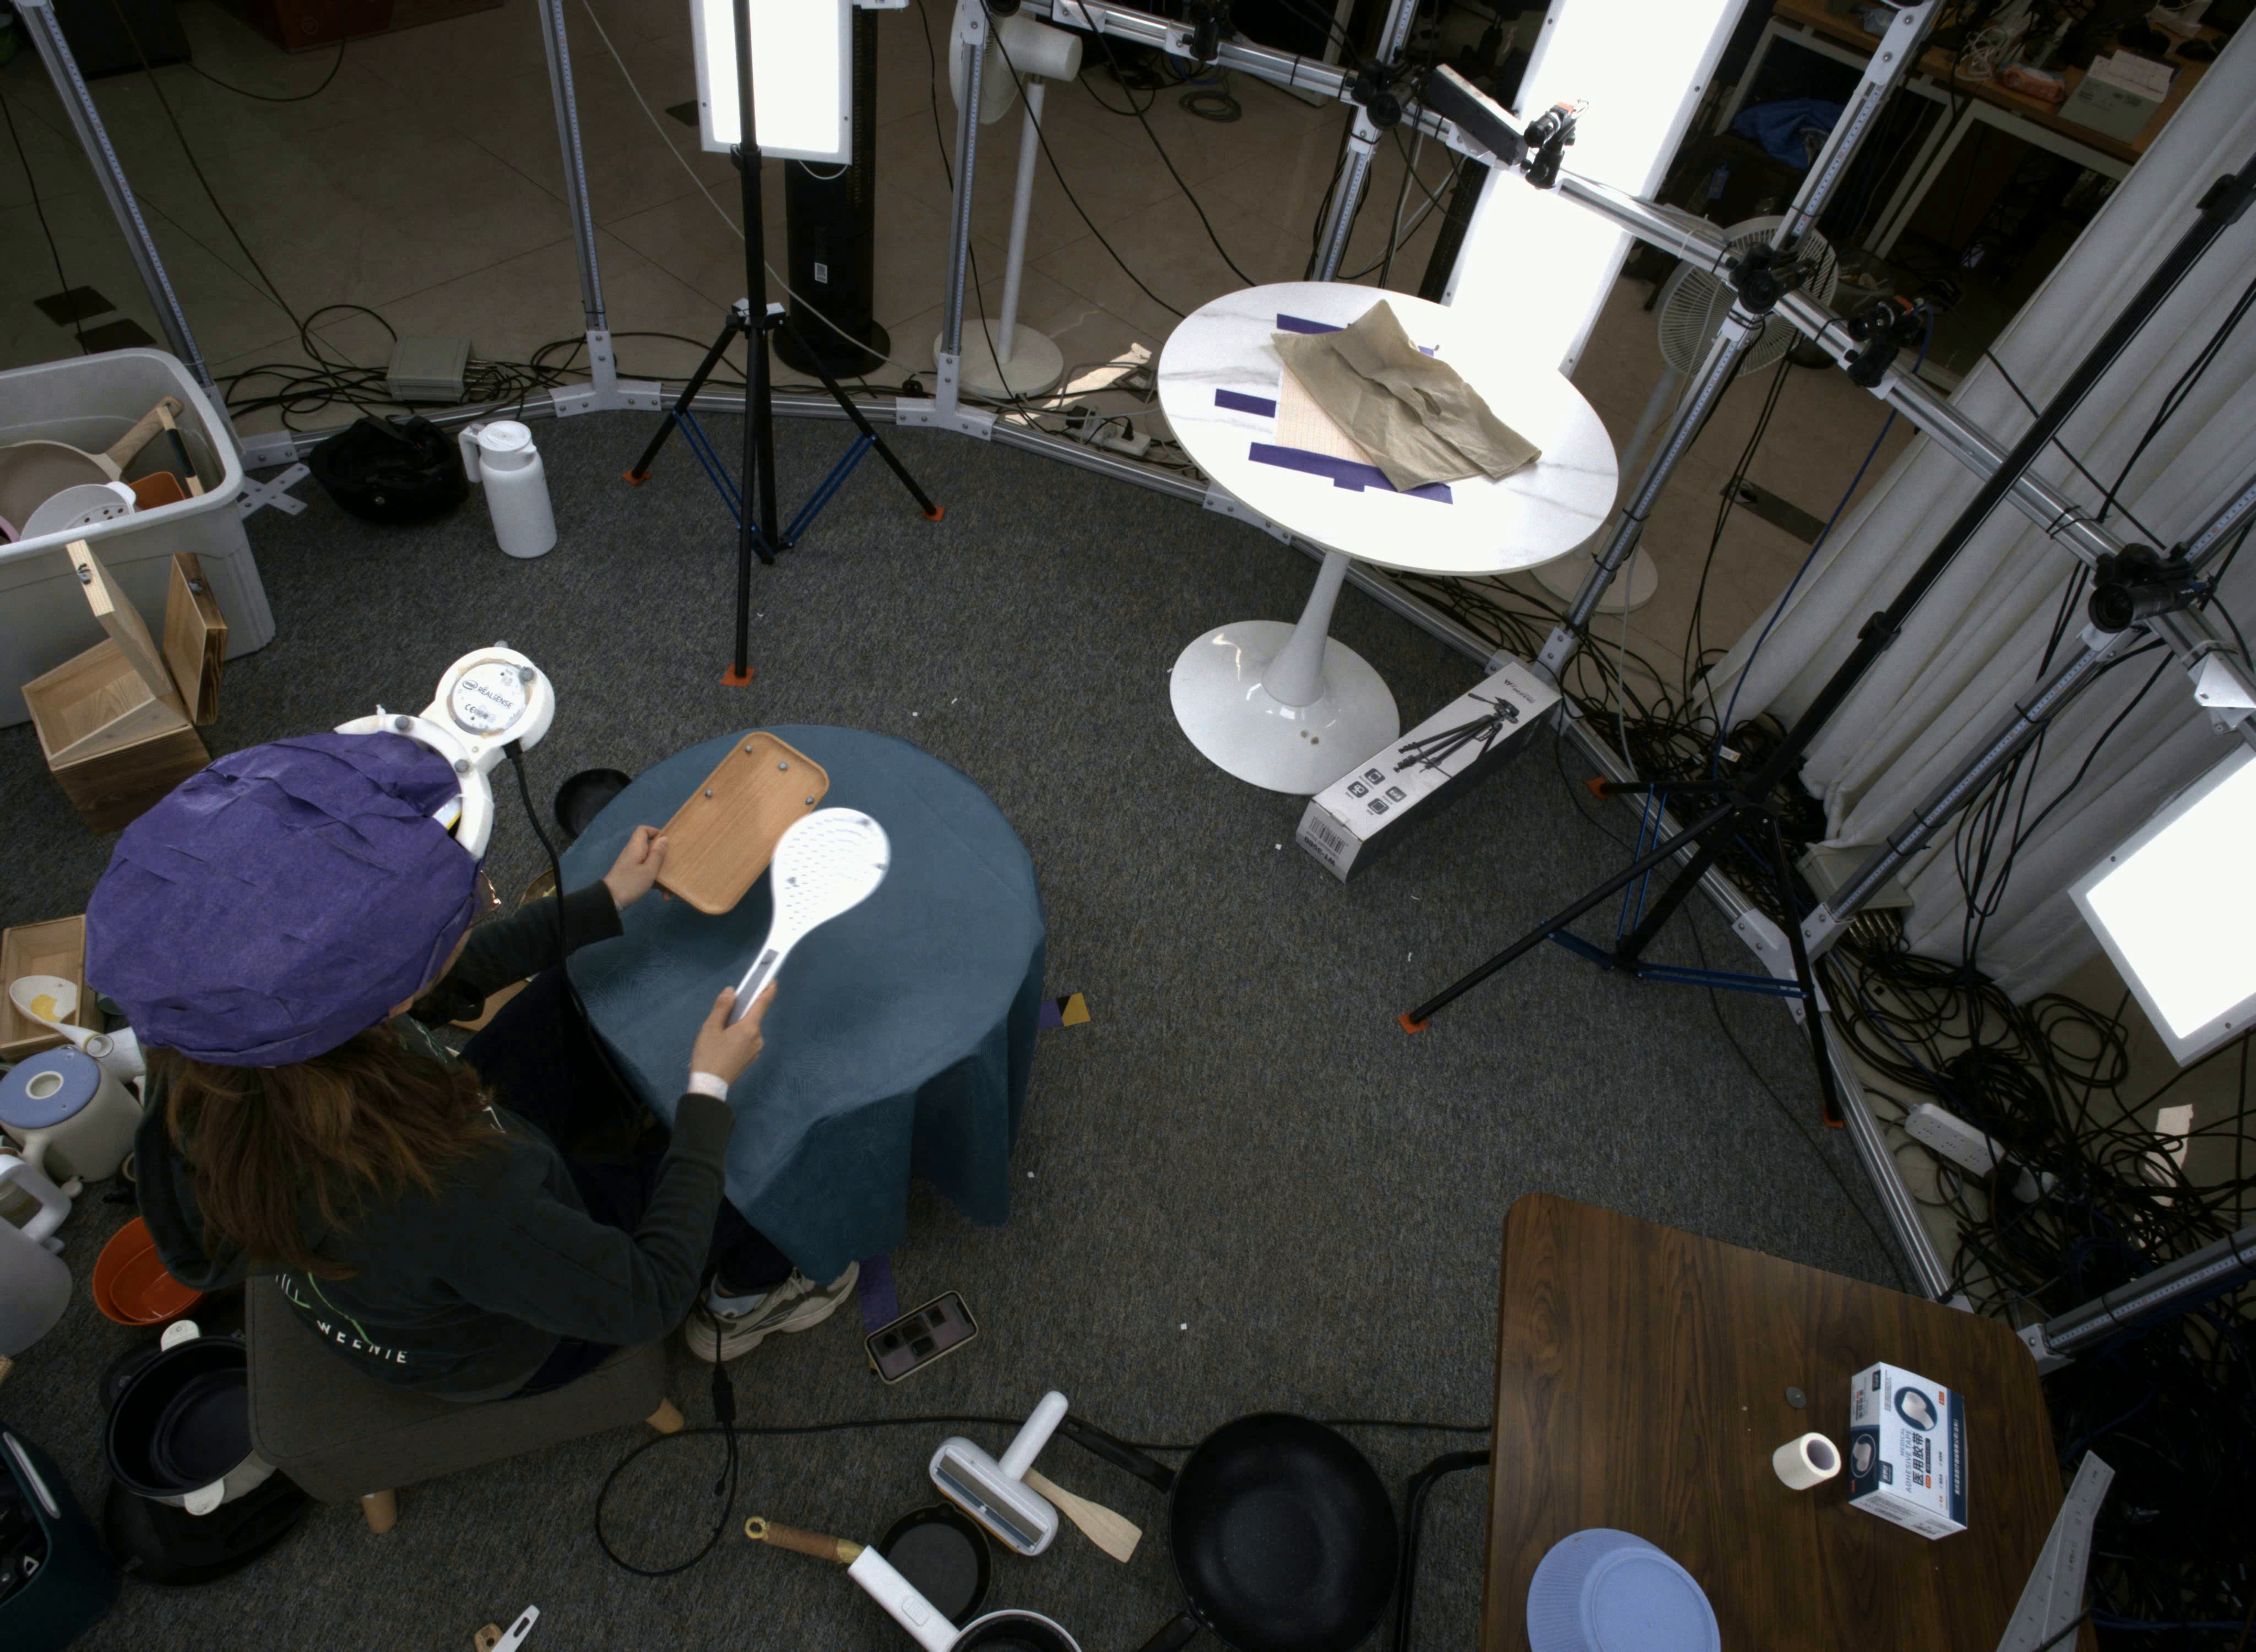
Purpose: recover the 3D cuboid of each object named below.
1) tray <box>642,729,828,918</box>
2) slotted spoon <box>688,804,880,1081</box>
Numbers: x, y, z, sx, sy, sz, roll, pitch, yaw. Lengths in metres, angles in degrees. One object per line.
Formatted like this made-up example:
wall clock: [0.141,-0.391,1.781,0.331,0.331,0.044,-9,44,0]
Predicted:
tray: [-0.483,-0.006,1.596,0.130,0.023,0.249,34,58,-3]
slotted spoon: [-0.397,0.126,1.468,0.132,0.047,0.348,20,62,15]
